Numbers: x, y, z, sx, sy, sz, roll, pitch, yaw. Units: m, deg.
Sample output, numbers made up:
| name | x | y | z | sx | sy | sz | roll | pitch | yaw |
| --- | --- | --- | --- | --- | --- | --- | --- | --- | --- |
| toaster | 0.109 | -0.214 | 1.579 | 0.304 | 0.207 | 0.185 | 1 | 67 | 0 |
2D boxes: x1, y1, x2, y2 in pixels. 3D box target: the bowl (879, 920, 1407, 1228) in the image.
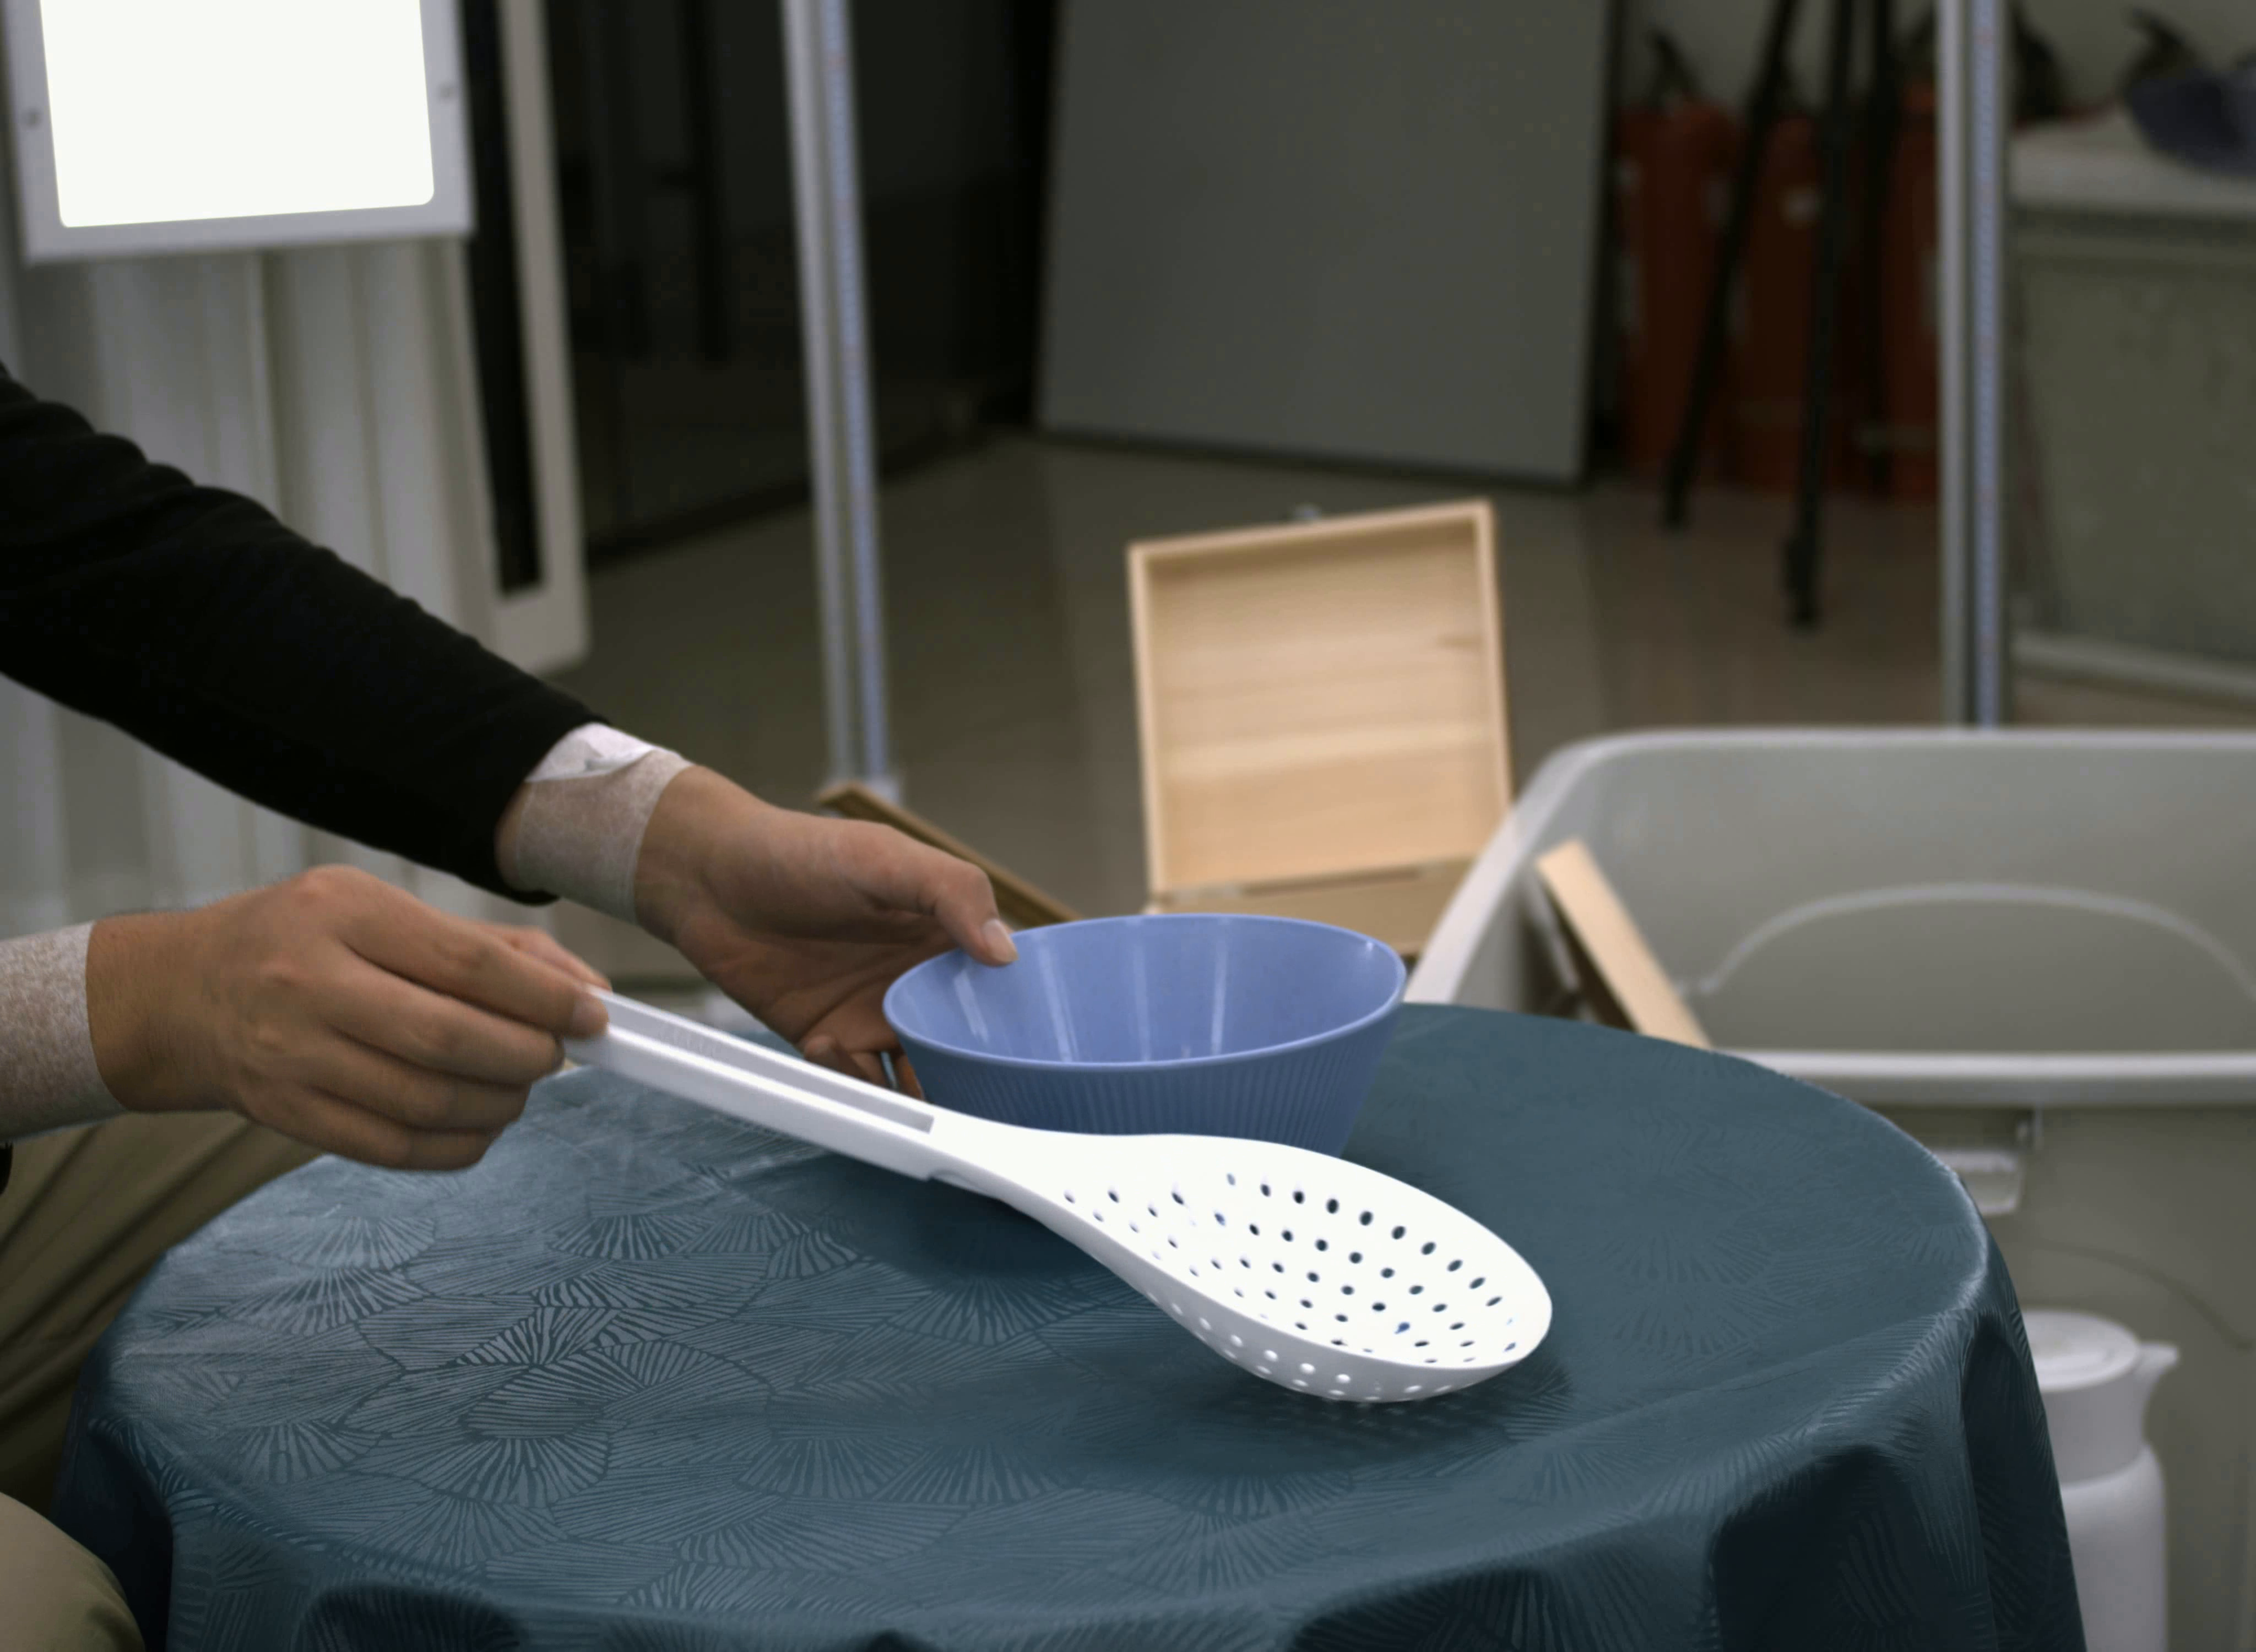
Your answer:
| name | x | y | z | sx | sy | sz | roll | pitch | yaw |
| --- | --- | --- | --- | --- | --- | --- | --- | --- | --- |
| bowl | 0.007 | 0.084 | 1.773 | 0.174 | 0.071 | 0.176 | -5 | 13 | 0 |

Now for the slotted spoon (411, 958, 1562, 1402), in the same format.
| name | x | y | z | sx | sy | sz | roll | pitch | yaw |
| --- | --- | --- | --- | --- | --- | --- | --- | --- | --- |
| slotted spoon | -0.042 | 0.098 | 1.575 | 0.346 | 0.046 | 0.136 | 21 | 20 | 1 |
